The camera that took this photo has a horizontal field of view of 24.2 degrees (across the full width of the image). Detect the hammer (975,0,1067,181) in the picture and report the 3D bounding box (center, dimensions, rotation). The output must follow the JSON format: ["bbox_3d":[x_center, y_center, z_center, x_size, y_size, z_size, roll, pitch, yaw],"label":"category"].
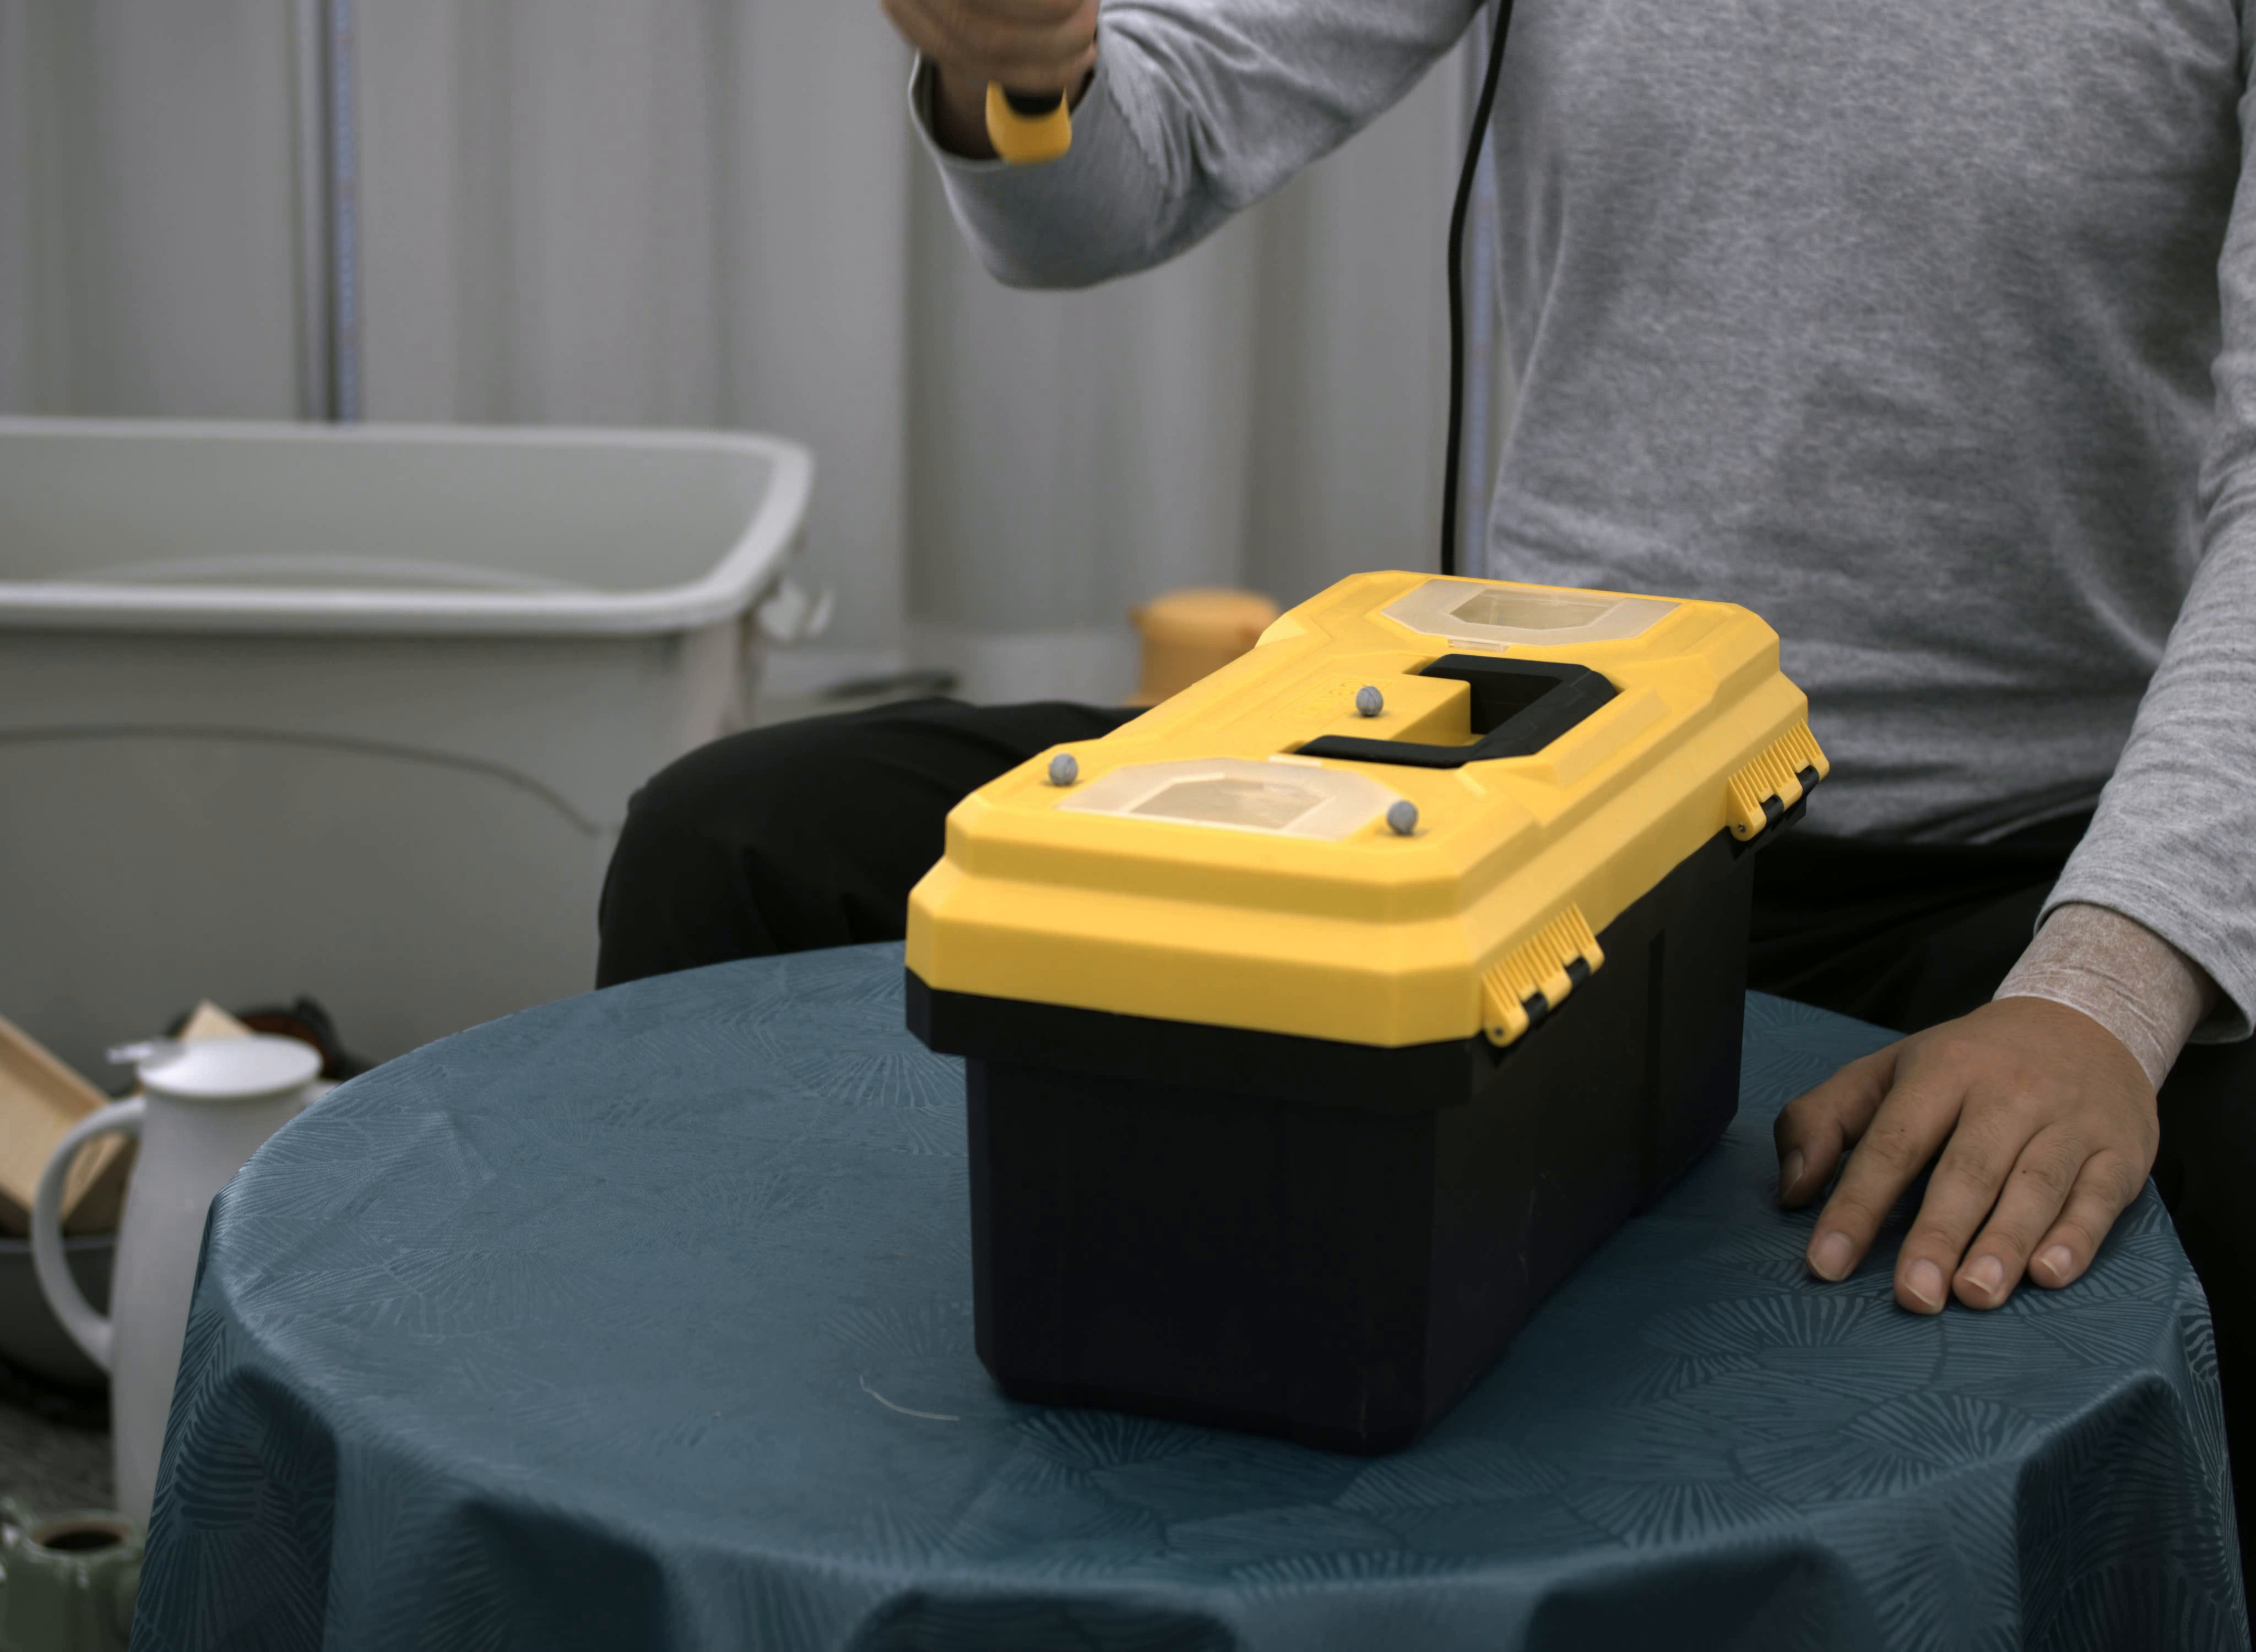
[{"bbox_3d":[-0.041,-0.323,1.627,0.032,0.342,0.130,-13,56,-6],"label":"hammer"}]

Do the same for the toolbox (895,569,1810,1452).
[{"bbox_3d":[0.075,0.044,1.550,0.179,0.174,0.352,7,17,22],"label":"toolbox"}]
